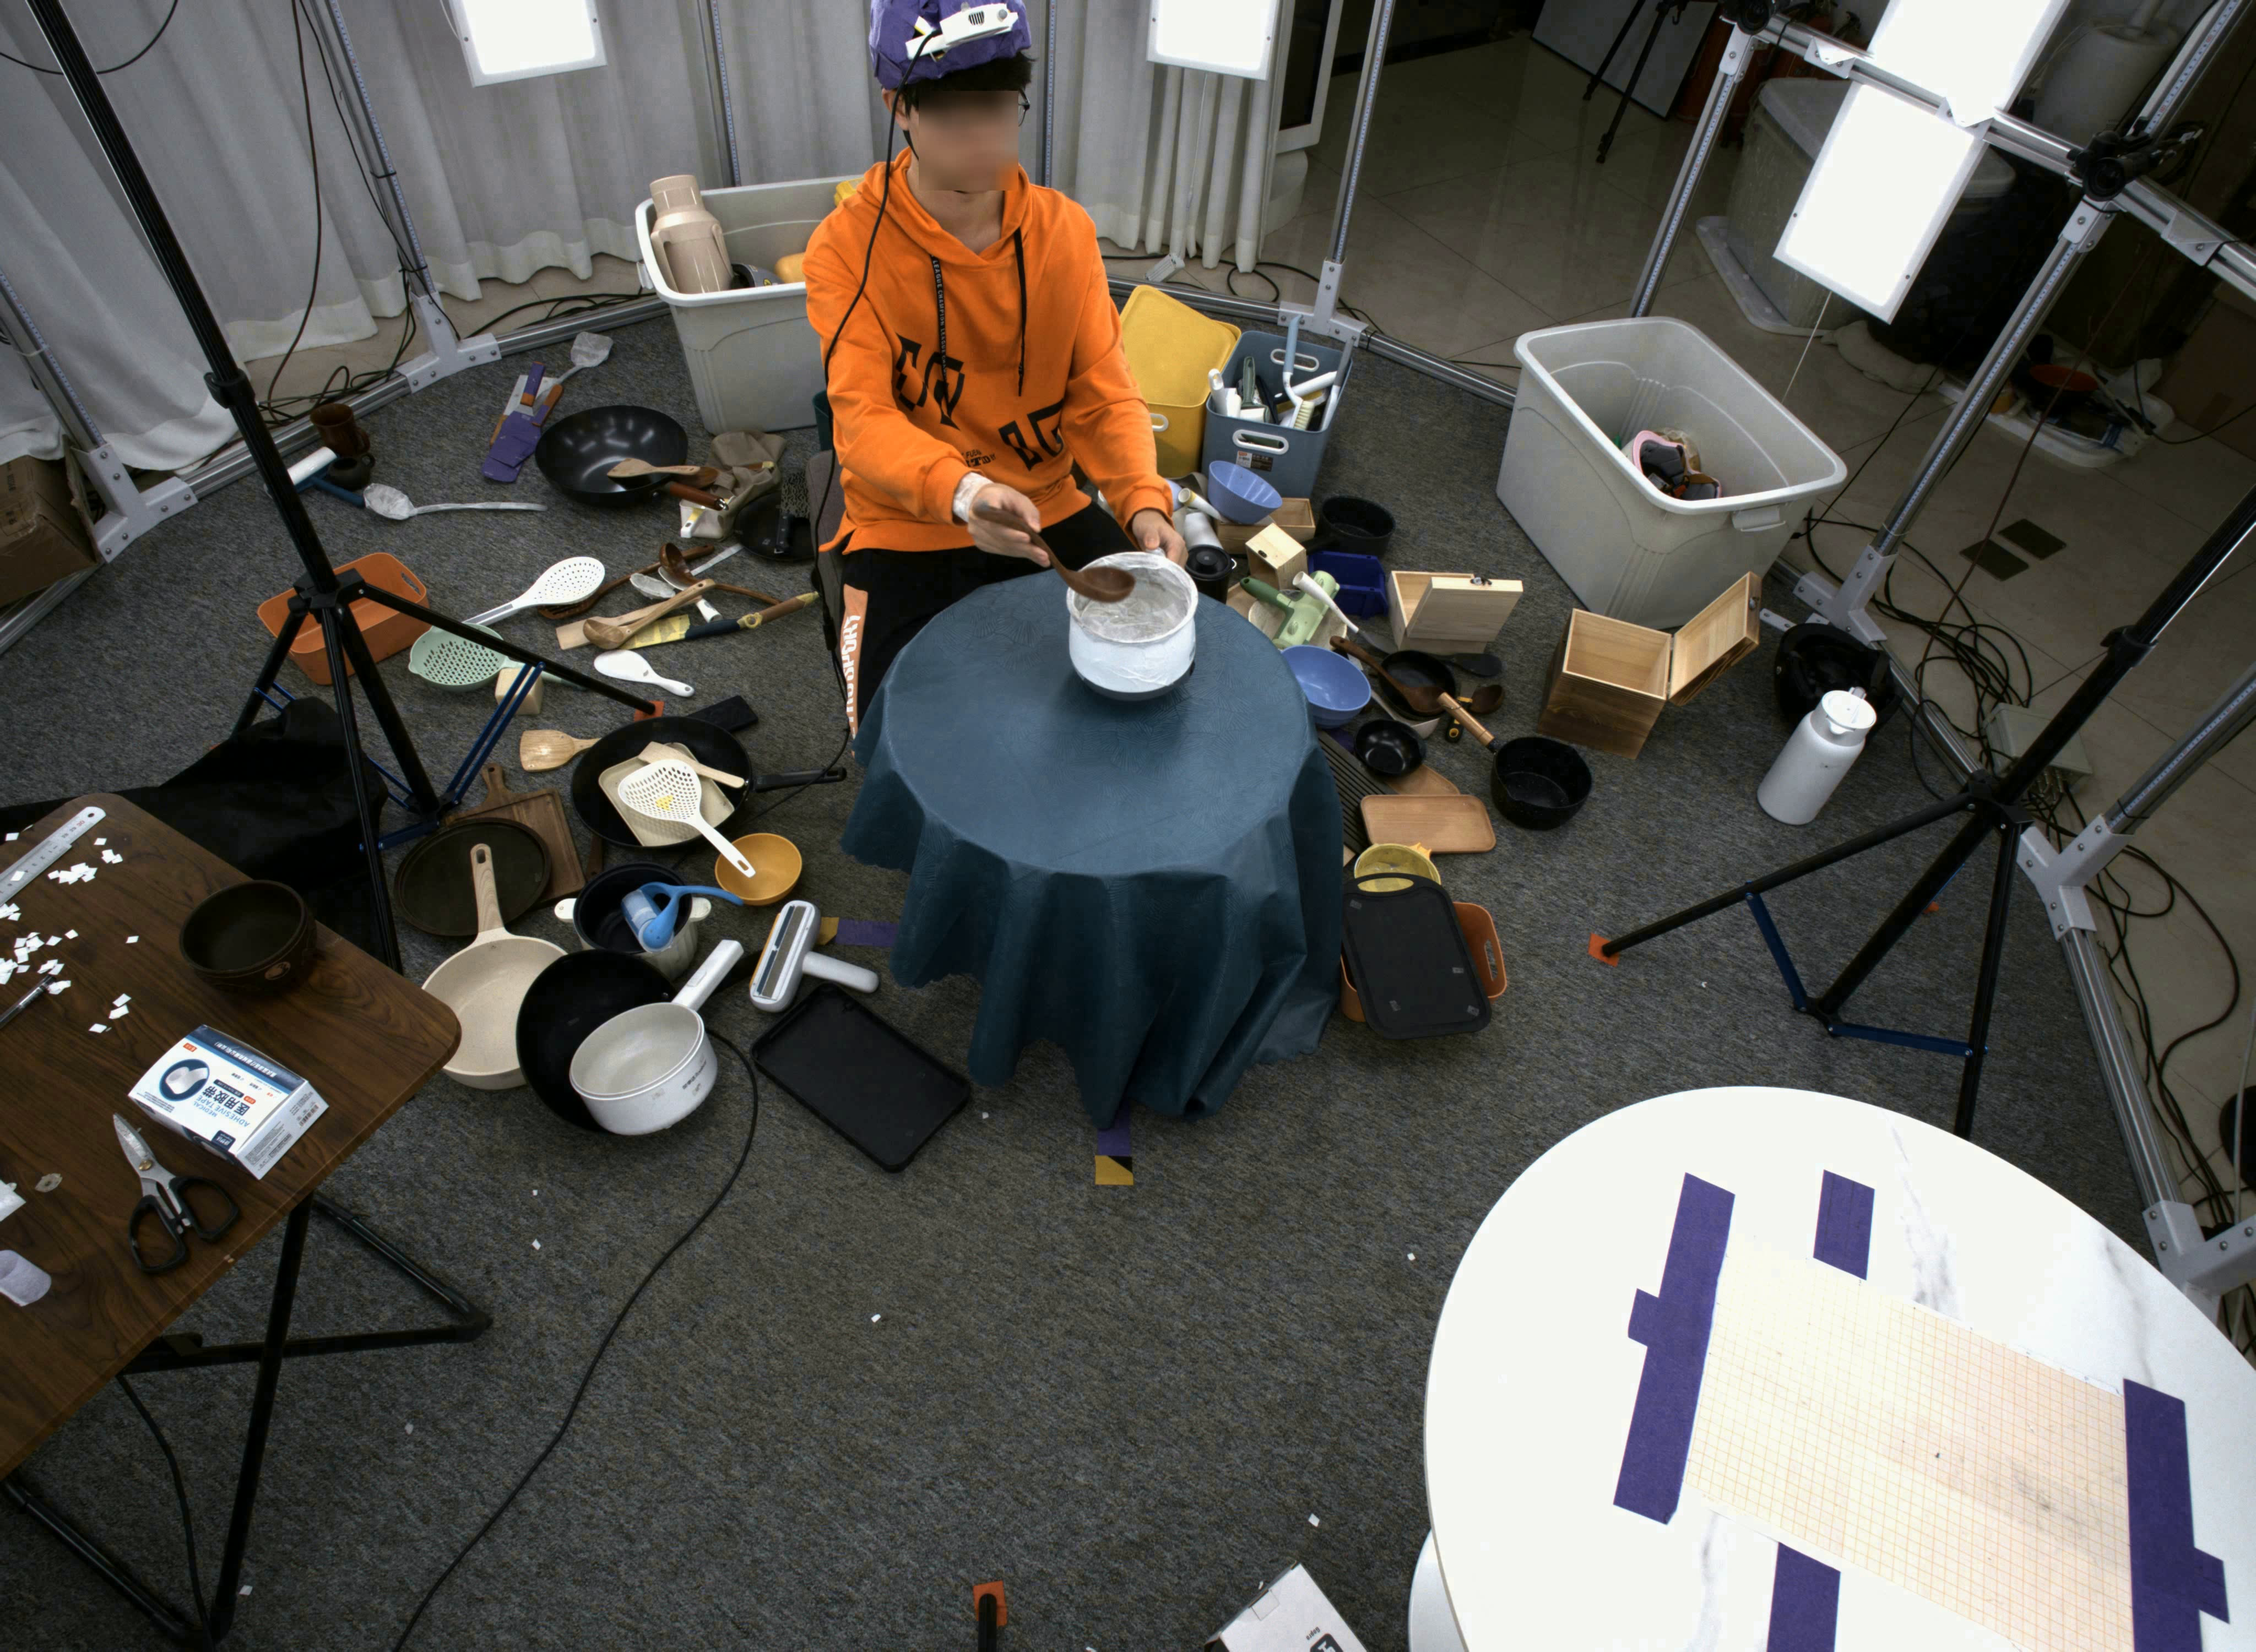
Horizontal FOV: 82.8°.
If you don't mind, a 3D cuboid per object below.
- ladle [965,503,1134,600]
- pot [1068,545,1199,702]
[{"bbox_3d":[-0.093,-0.353,1.610,0.065,0.256,0.078,-53,44,9],"label":"ladle"},{"bbox_3d":[0.014,-0.293,1.795,0.179,0.133,0.239,13,53,9],"label":"pot"}]
